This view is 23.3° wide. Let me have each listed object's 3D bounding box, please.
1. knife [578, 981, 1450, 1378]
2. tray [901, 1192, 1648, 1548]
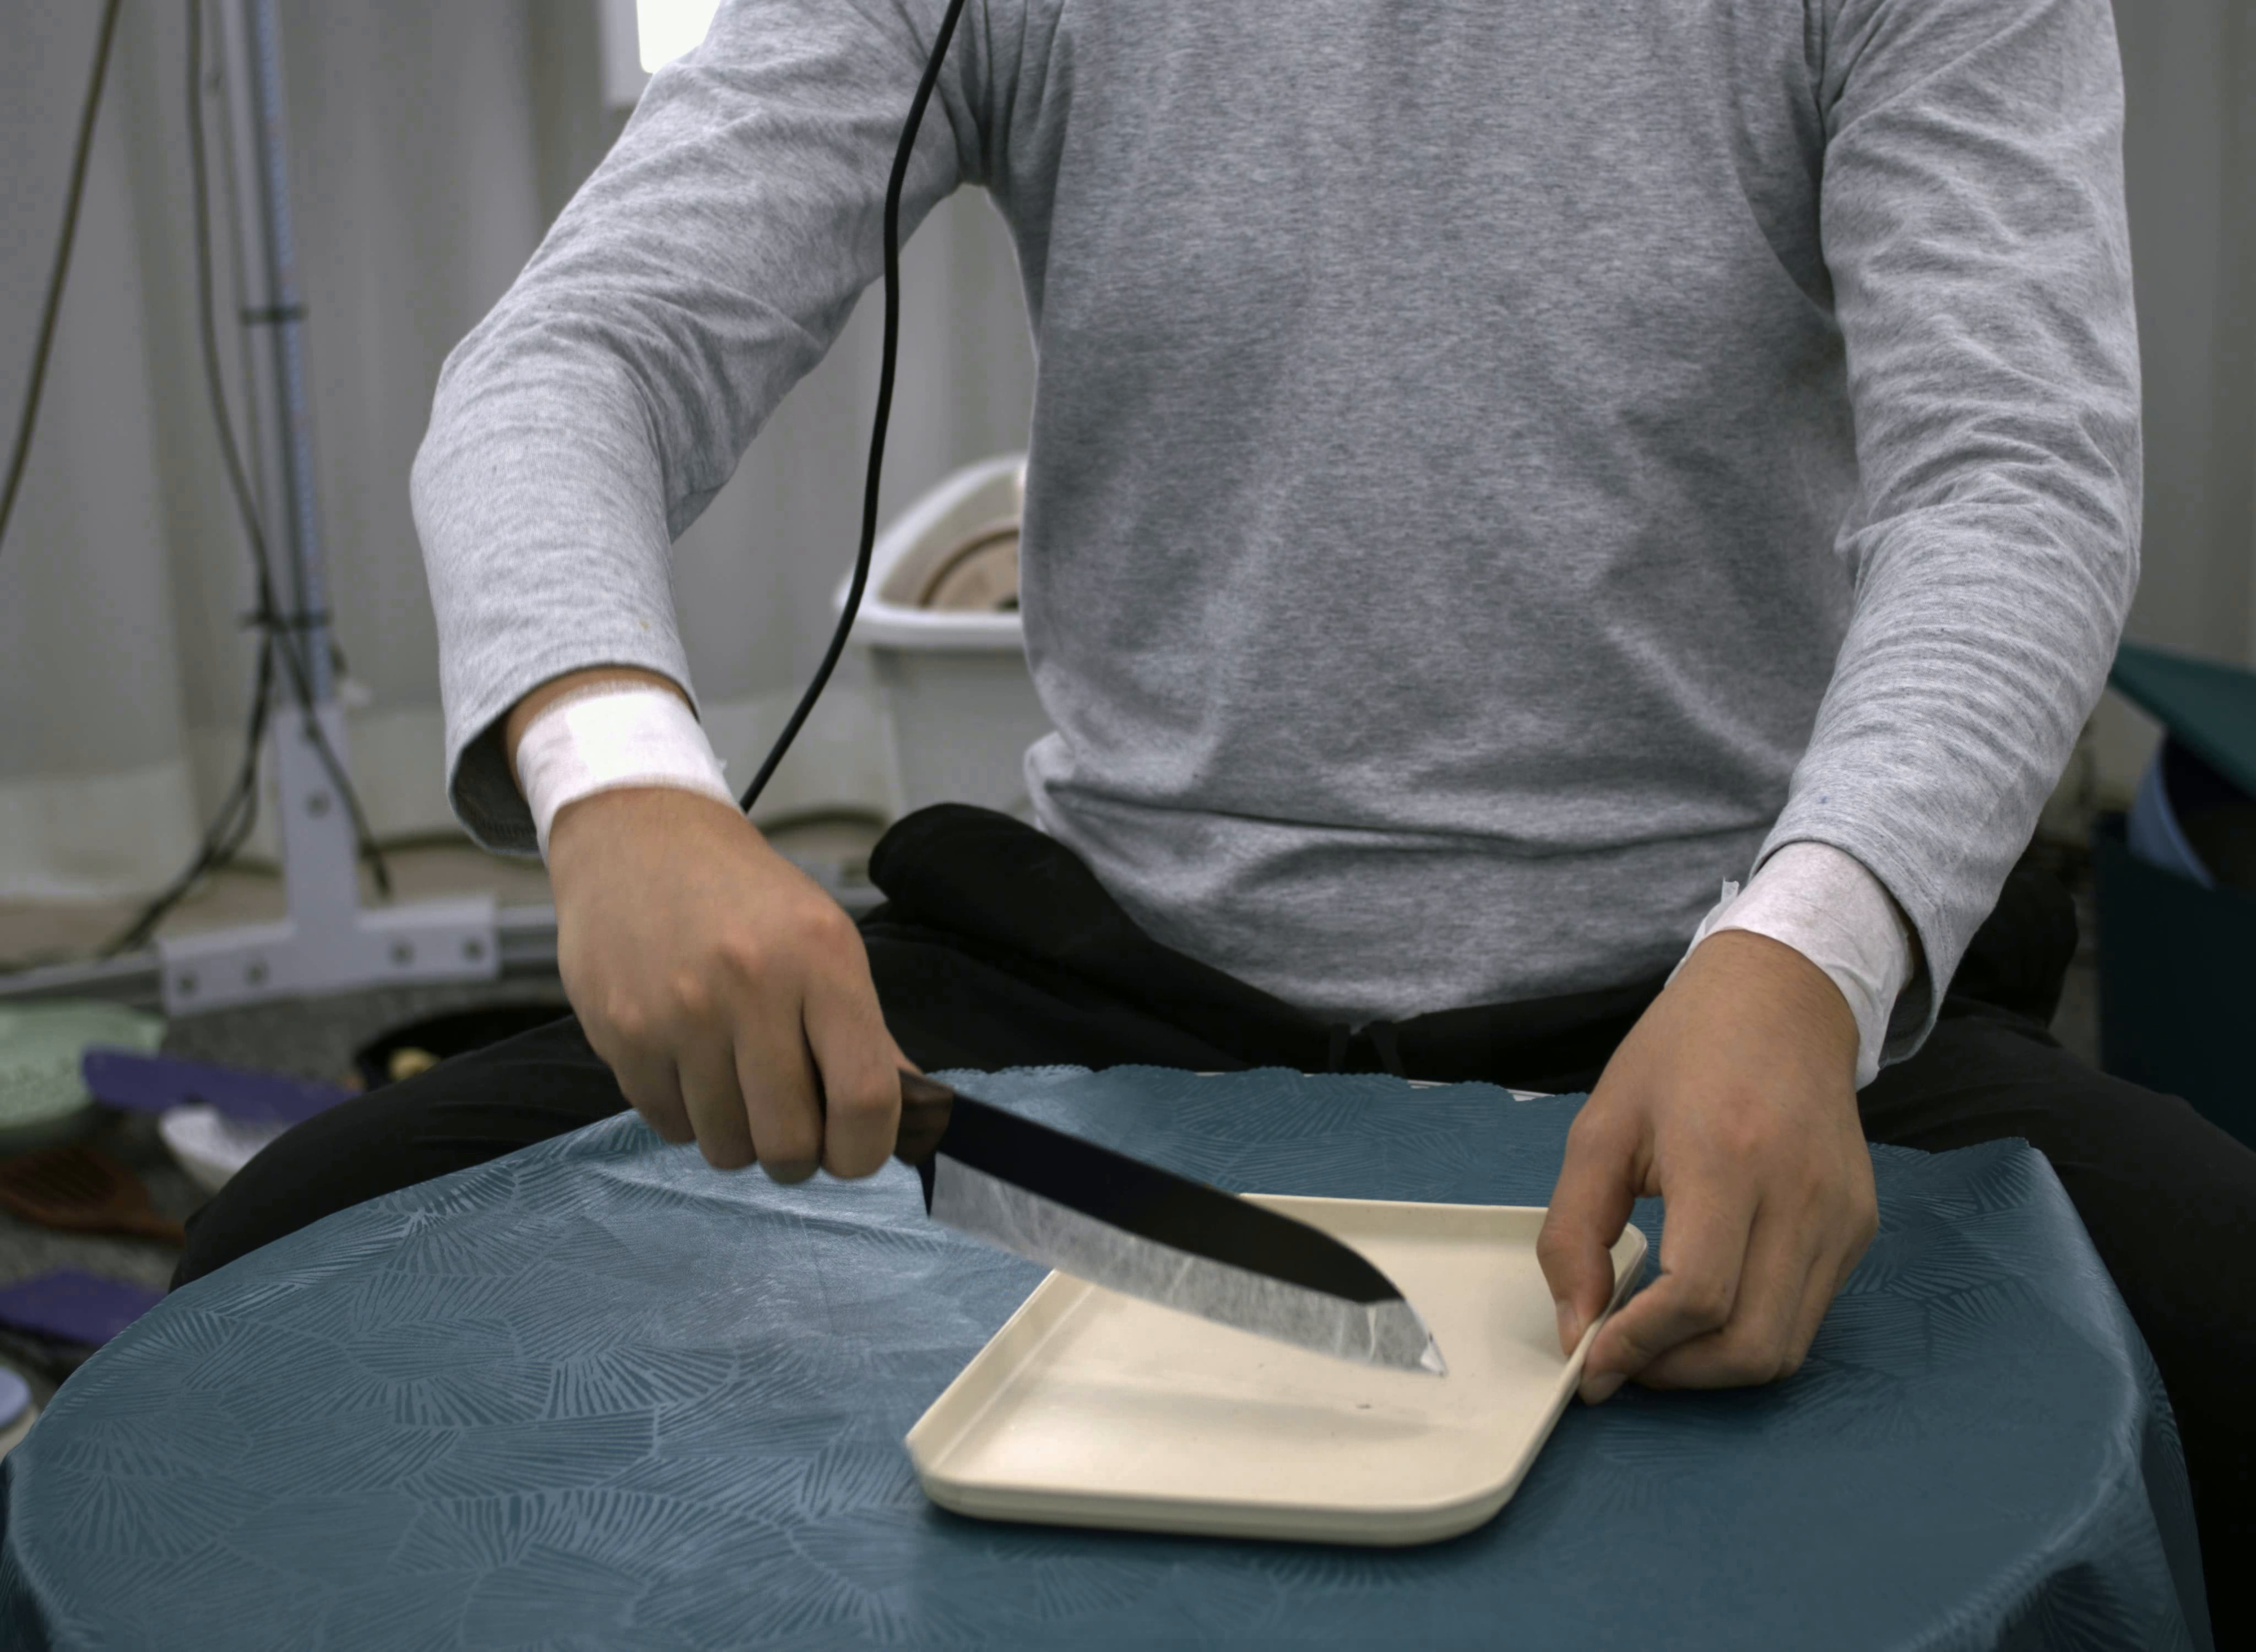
[{"bbox_3d":[-0.035,0.100,1.557,0.290,0.050,0.020,21,30,24],"label":"knife"},{"bbox_3d":[0.046,0.151,1.537,0.171,0.017,0.240,2,15,17],"label":"tray"}]
